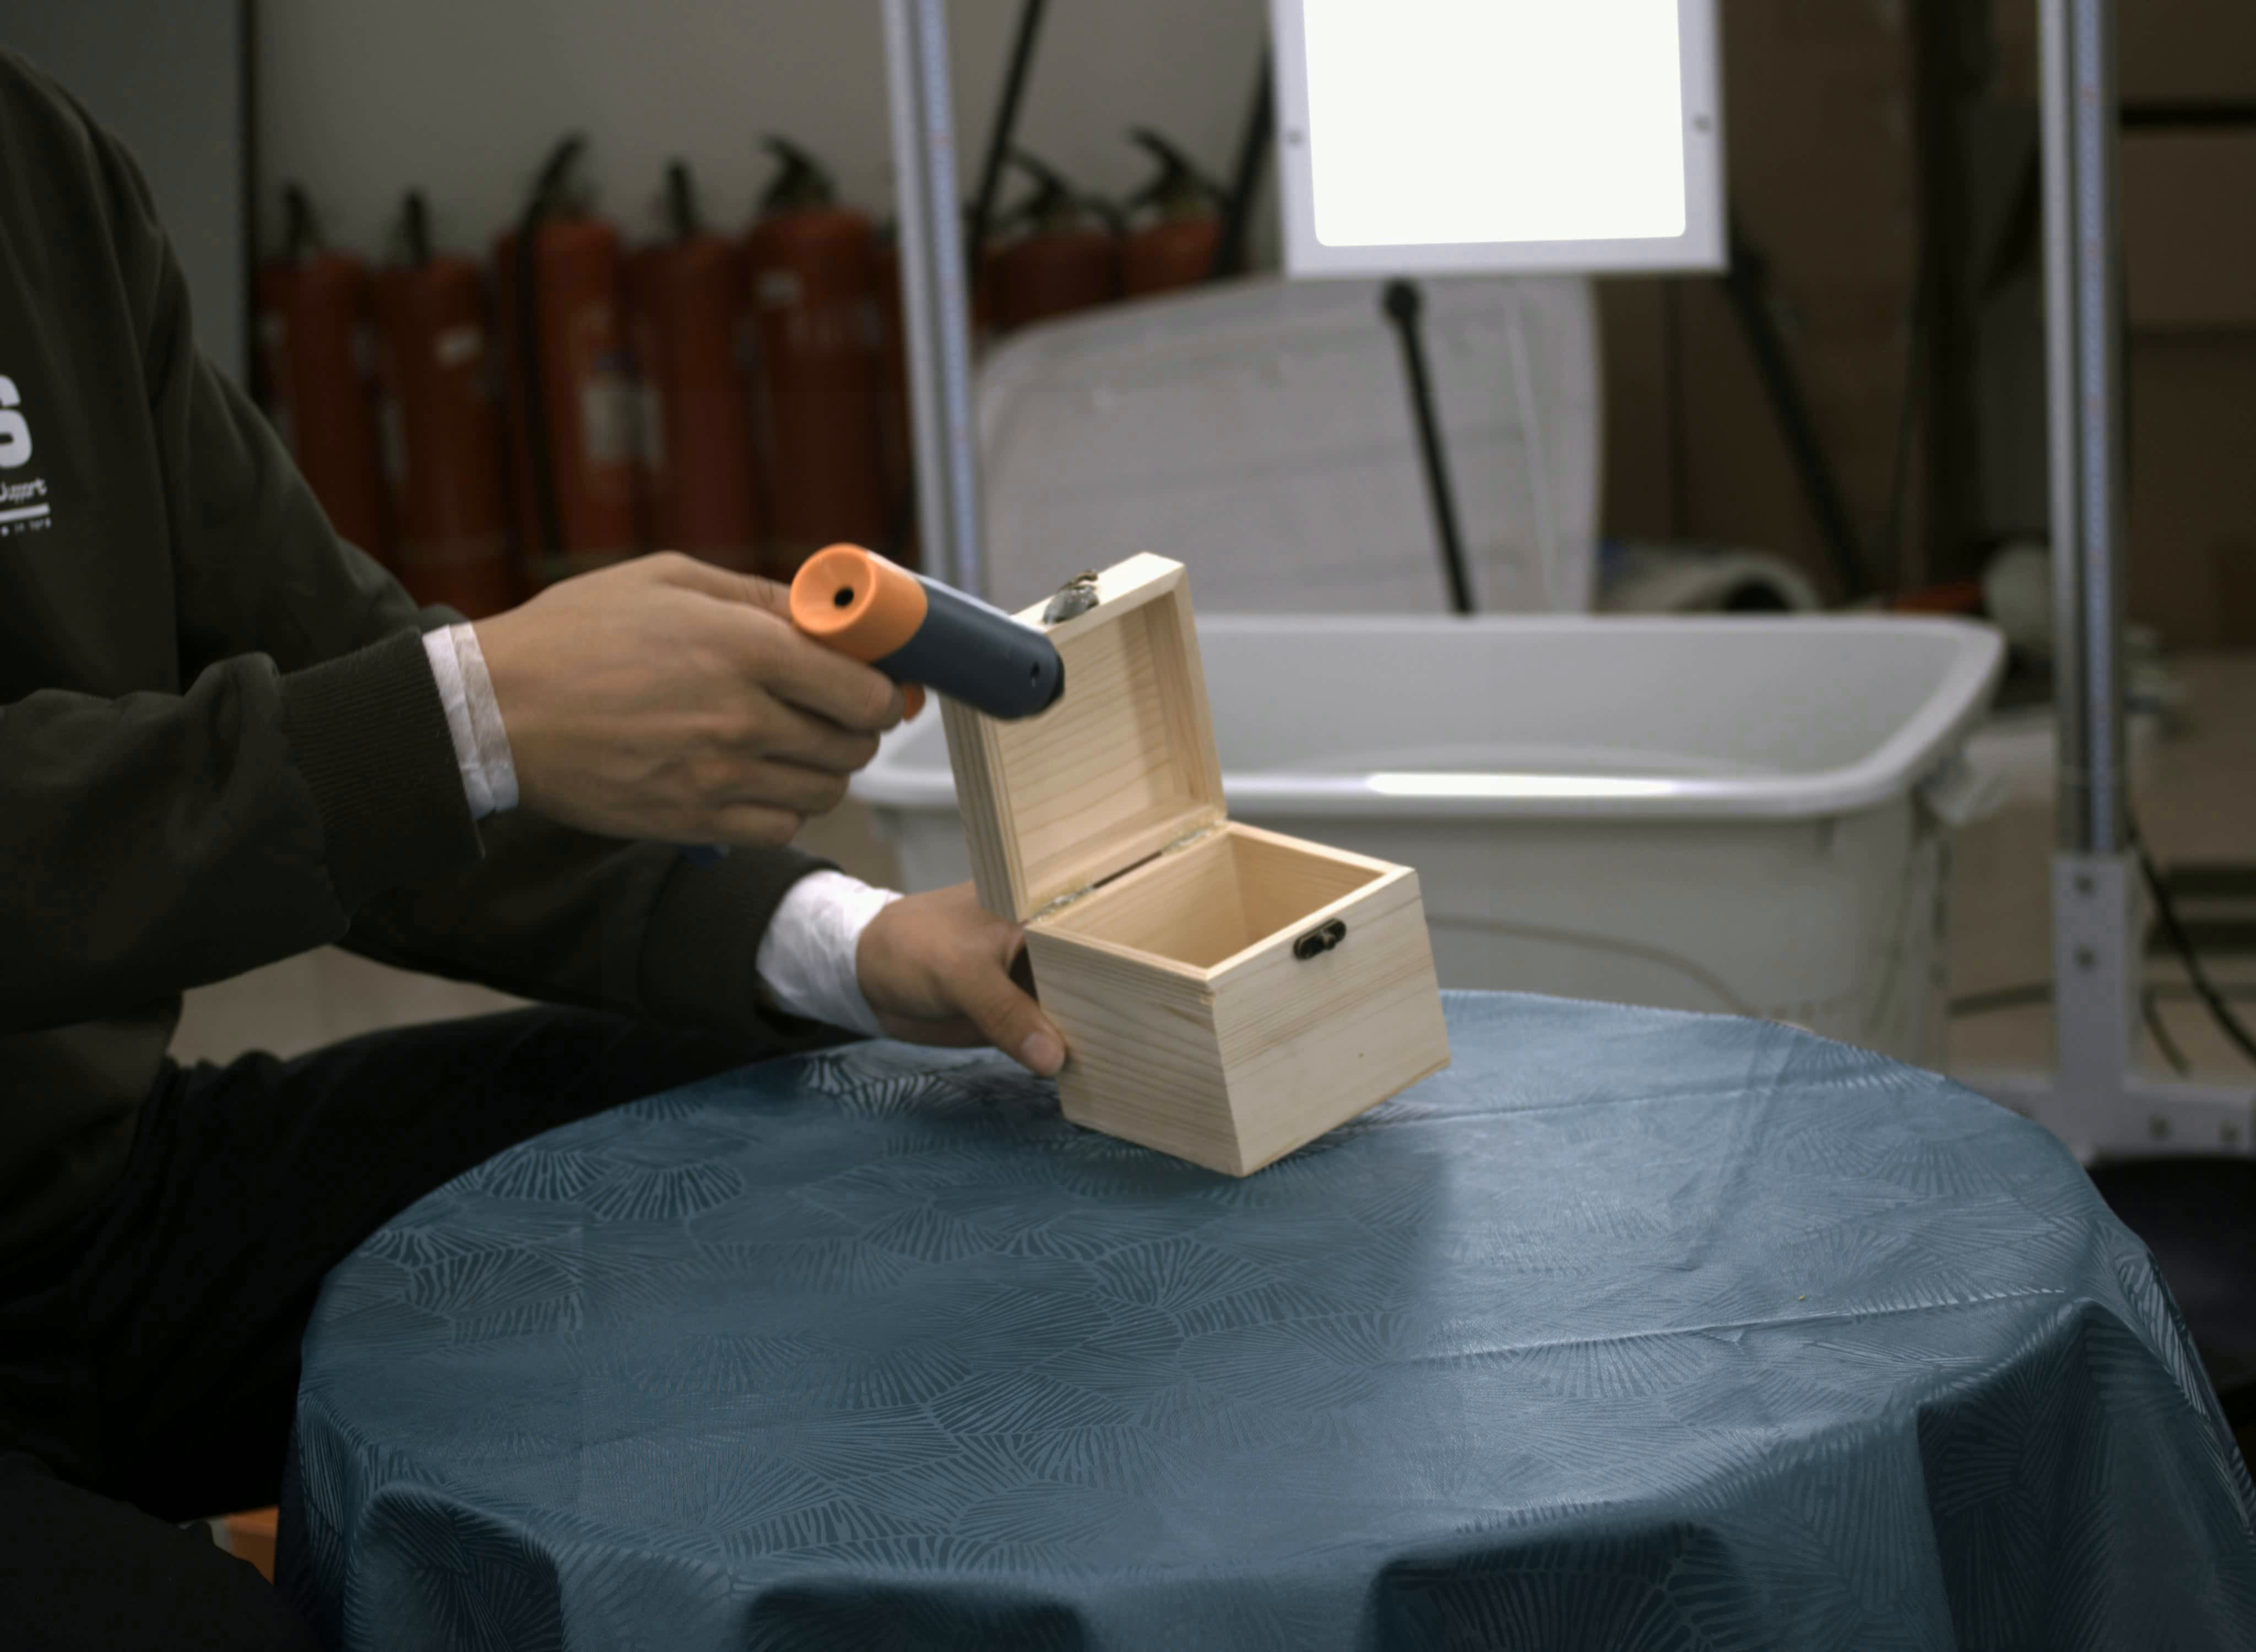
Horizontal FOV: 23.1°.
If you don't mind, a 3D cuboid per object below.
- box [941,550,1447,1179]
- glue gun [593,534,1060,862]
[{"bbox_3d":[0.024,0.011,1.941,0.100,0.185,0.136,-26,26,-33],"label":"box"},{"bbox_3d":[-0.099,-0.043,1.852,0.141,0.041,0.116,-28,-34,11],"label":"glue gun"}]
